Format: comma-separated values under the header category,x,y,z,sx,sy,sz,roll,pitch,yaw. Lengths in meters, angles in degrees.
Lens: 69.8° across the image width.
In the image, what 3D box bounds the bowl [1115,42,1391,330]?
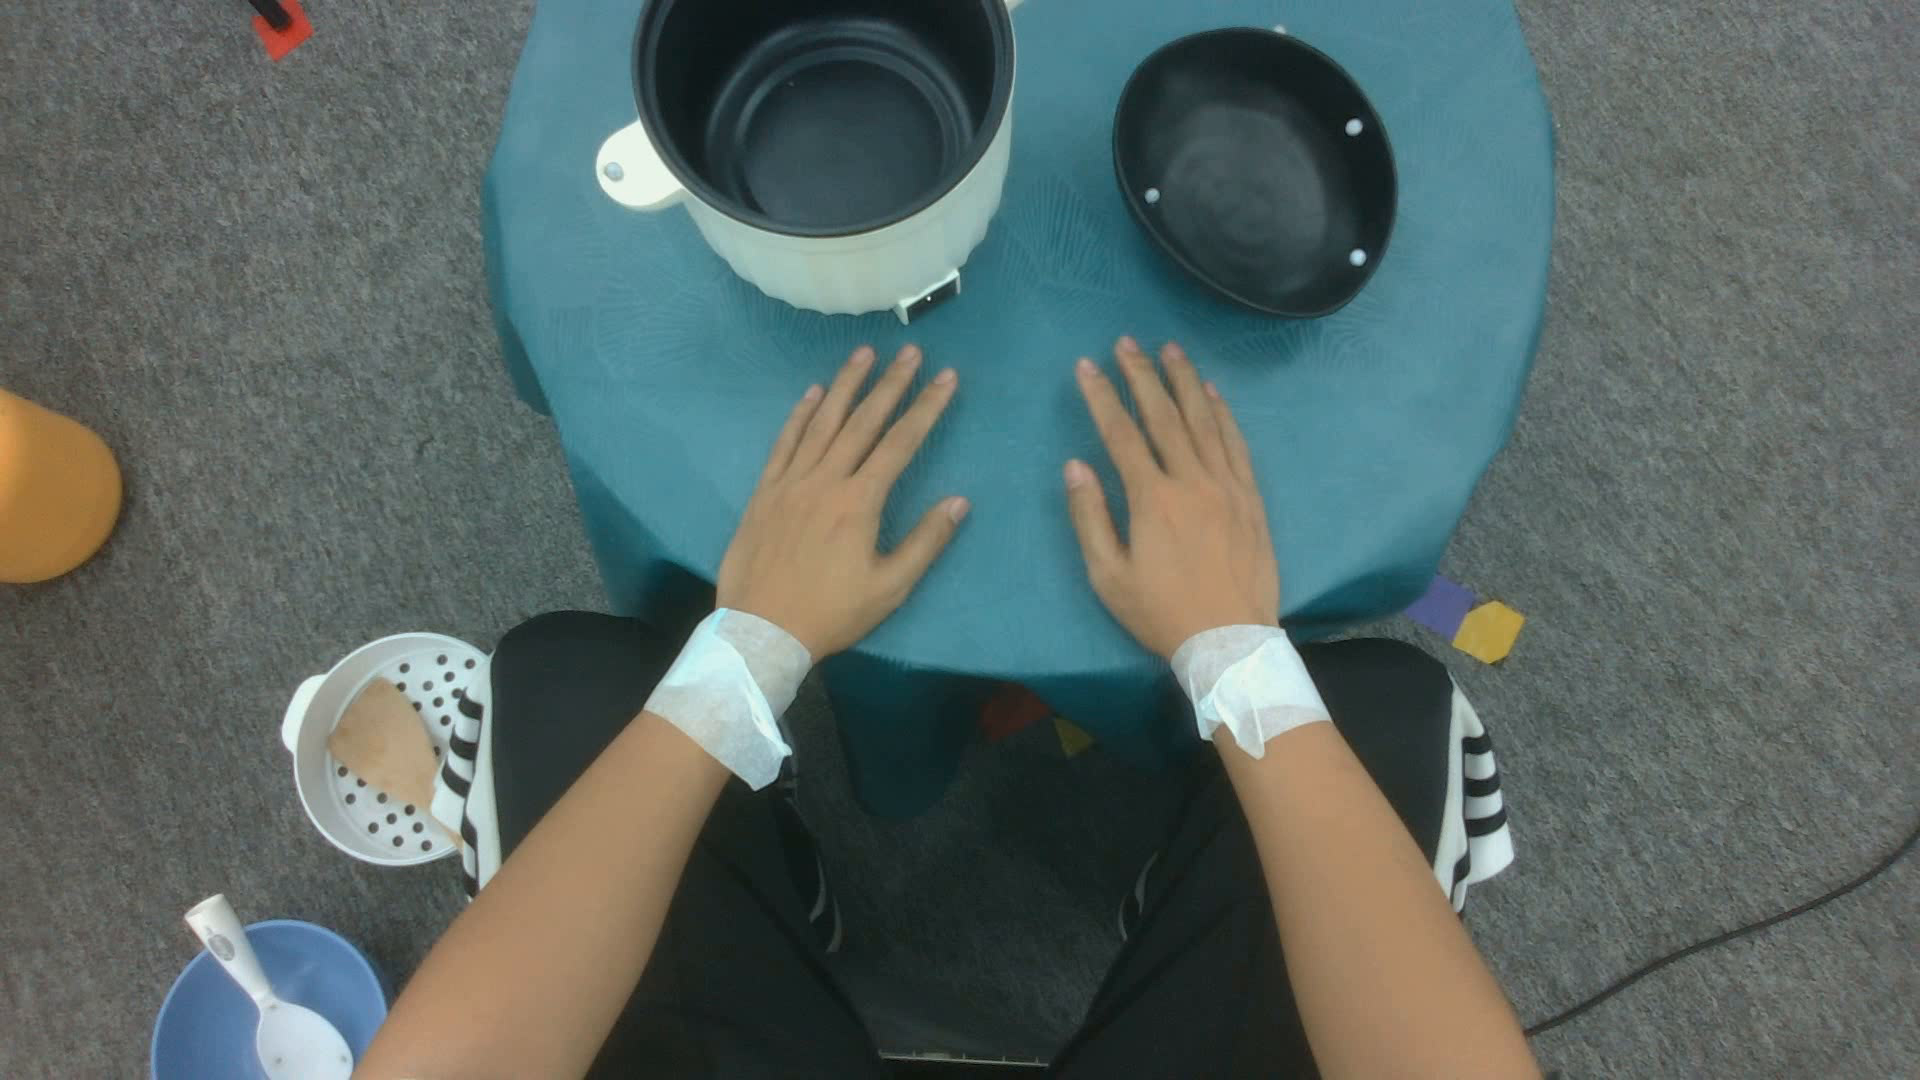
category,x,y,z,sx,sy,sz,roll,pitch,yaw
bowl,0.158,-0.188,0.756,0.137,0.066,0.170,-33,79,-5

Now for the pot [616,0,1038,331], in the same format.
category,x,y,z,sx,sy,sz,roll,pitch,yaw
pot,-0.064,-0.214,0.731,0.240,0.142,0.190,-33,82,-6
